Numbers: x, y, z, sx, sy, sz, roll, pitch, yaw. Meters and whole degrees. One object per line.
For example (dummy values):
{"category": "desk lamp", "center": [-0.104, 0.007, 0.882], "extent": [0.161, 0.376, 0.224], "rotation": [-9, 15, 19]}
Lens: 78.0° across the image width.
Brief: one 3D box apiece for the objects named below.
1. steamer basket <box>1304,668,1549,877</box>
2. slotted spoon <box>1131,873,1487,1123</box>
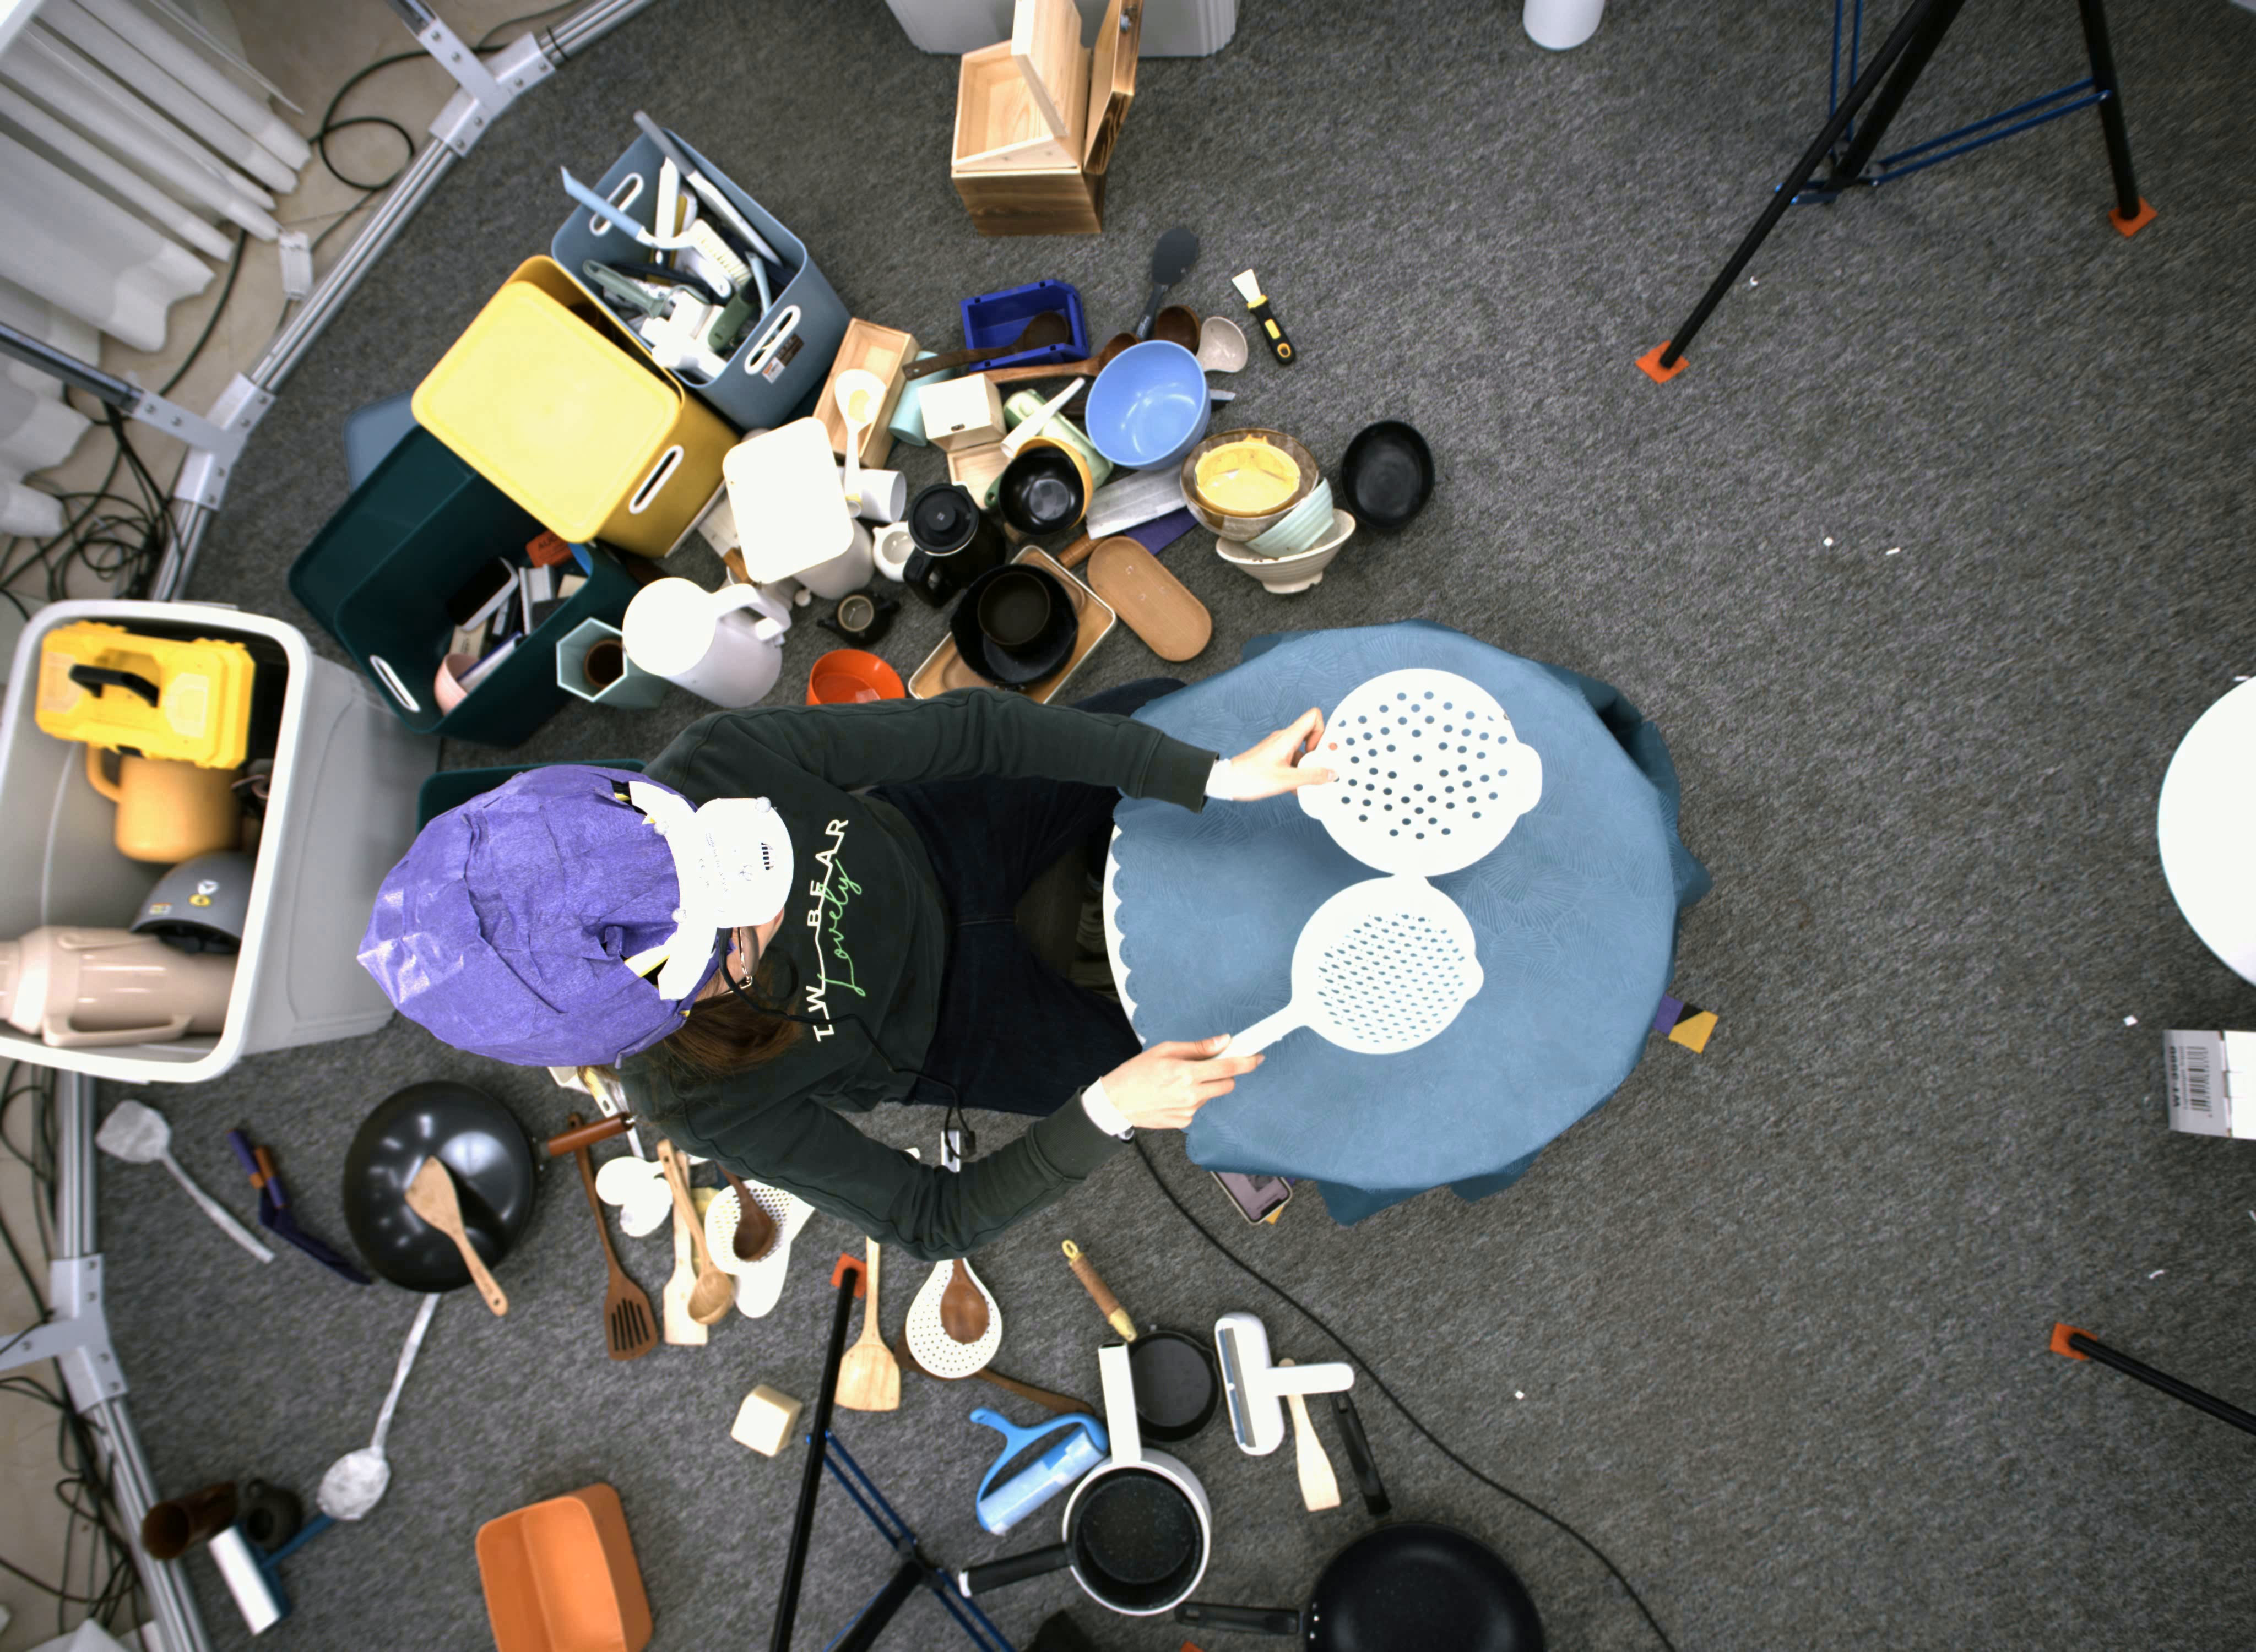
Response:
{"category": "steamer basket", "center": [0.288, -0.055, 1.337], "extent": [0.232, 0.067, 0.205], "rotation": [-2, 114, 14]}
{"category": "slotted spoon", "center": [0.156, 0.180, 1.281], "extent": [0.360, 0.077, 0.166], "rotation": [-26, 54, 2]}
